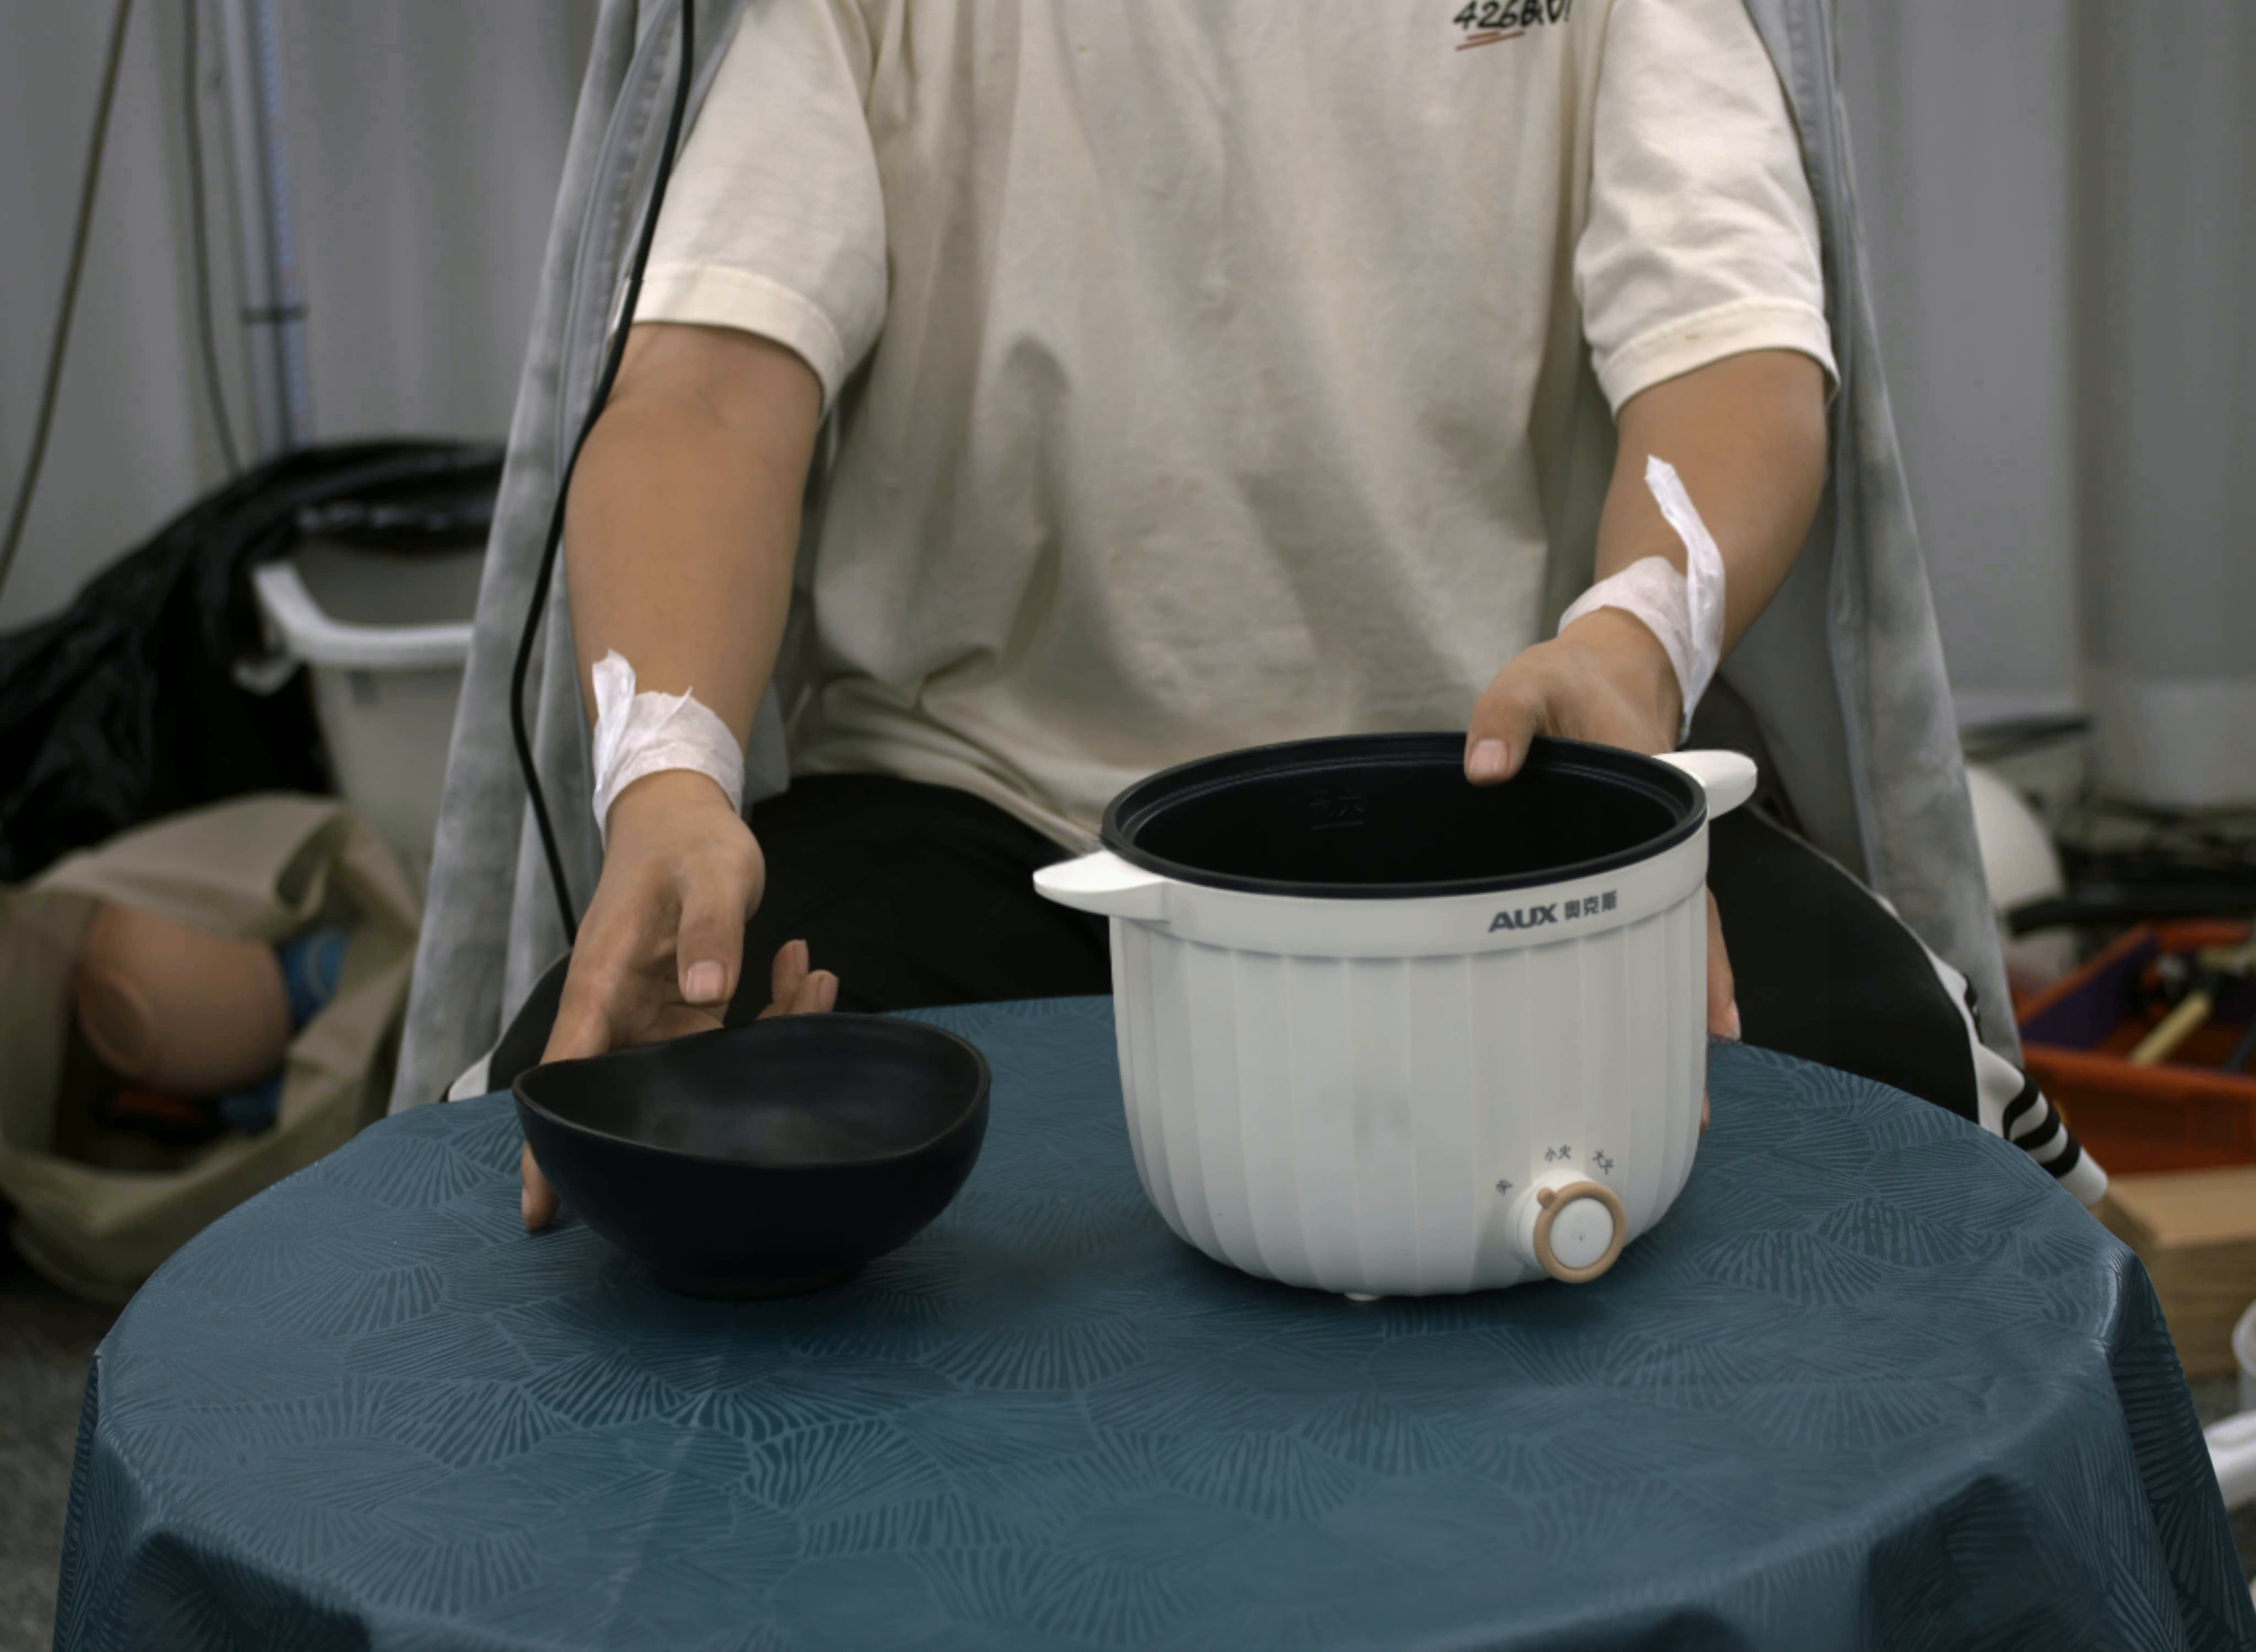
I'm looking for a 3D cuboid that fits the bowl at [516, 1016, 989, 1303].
[{"bbox_3d":[-0.114,0.104,1.657,0.137,0.066,0.171,-10,16,-31],"label":"bowl"}]

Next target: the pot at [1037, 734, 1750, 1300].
[{"bbox_3d":[0.089,0.059,1.646,0.239,0.142,0.192,-10,13,-25],"label":"pot"}]
